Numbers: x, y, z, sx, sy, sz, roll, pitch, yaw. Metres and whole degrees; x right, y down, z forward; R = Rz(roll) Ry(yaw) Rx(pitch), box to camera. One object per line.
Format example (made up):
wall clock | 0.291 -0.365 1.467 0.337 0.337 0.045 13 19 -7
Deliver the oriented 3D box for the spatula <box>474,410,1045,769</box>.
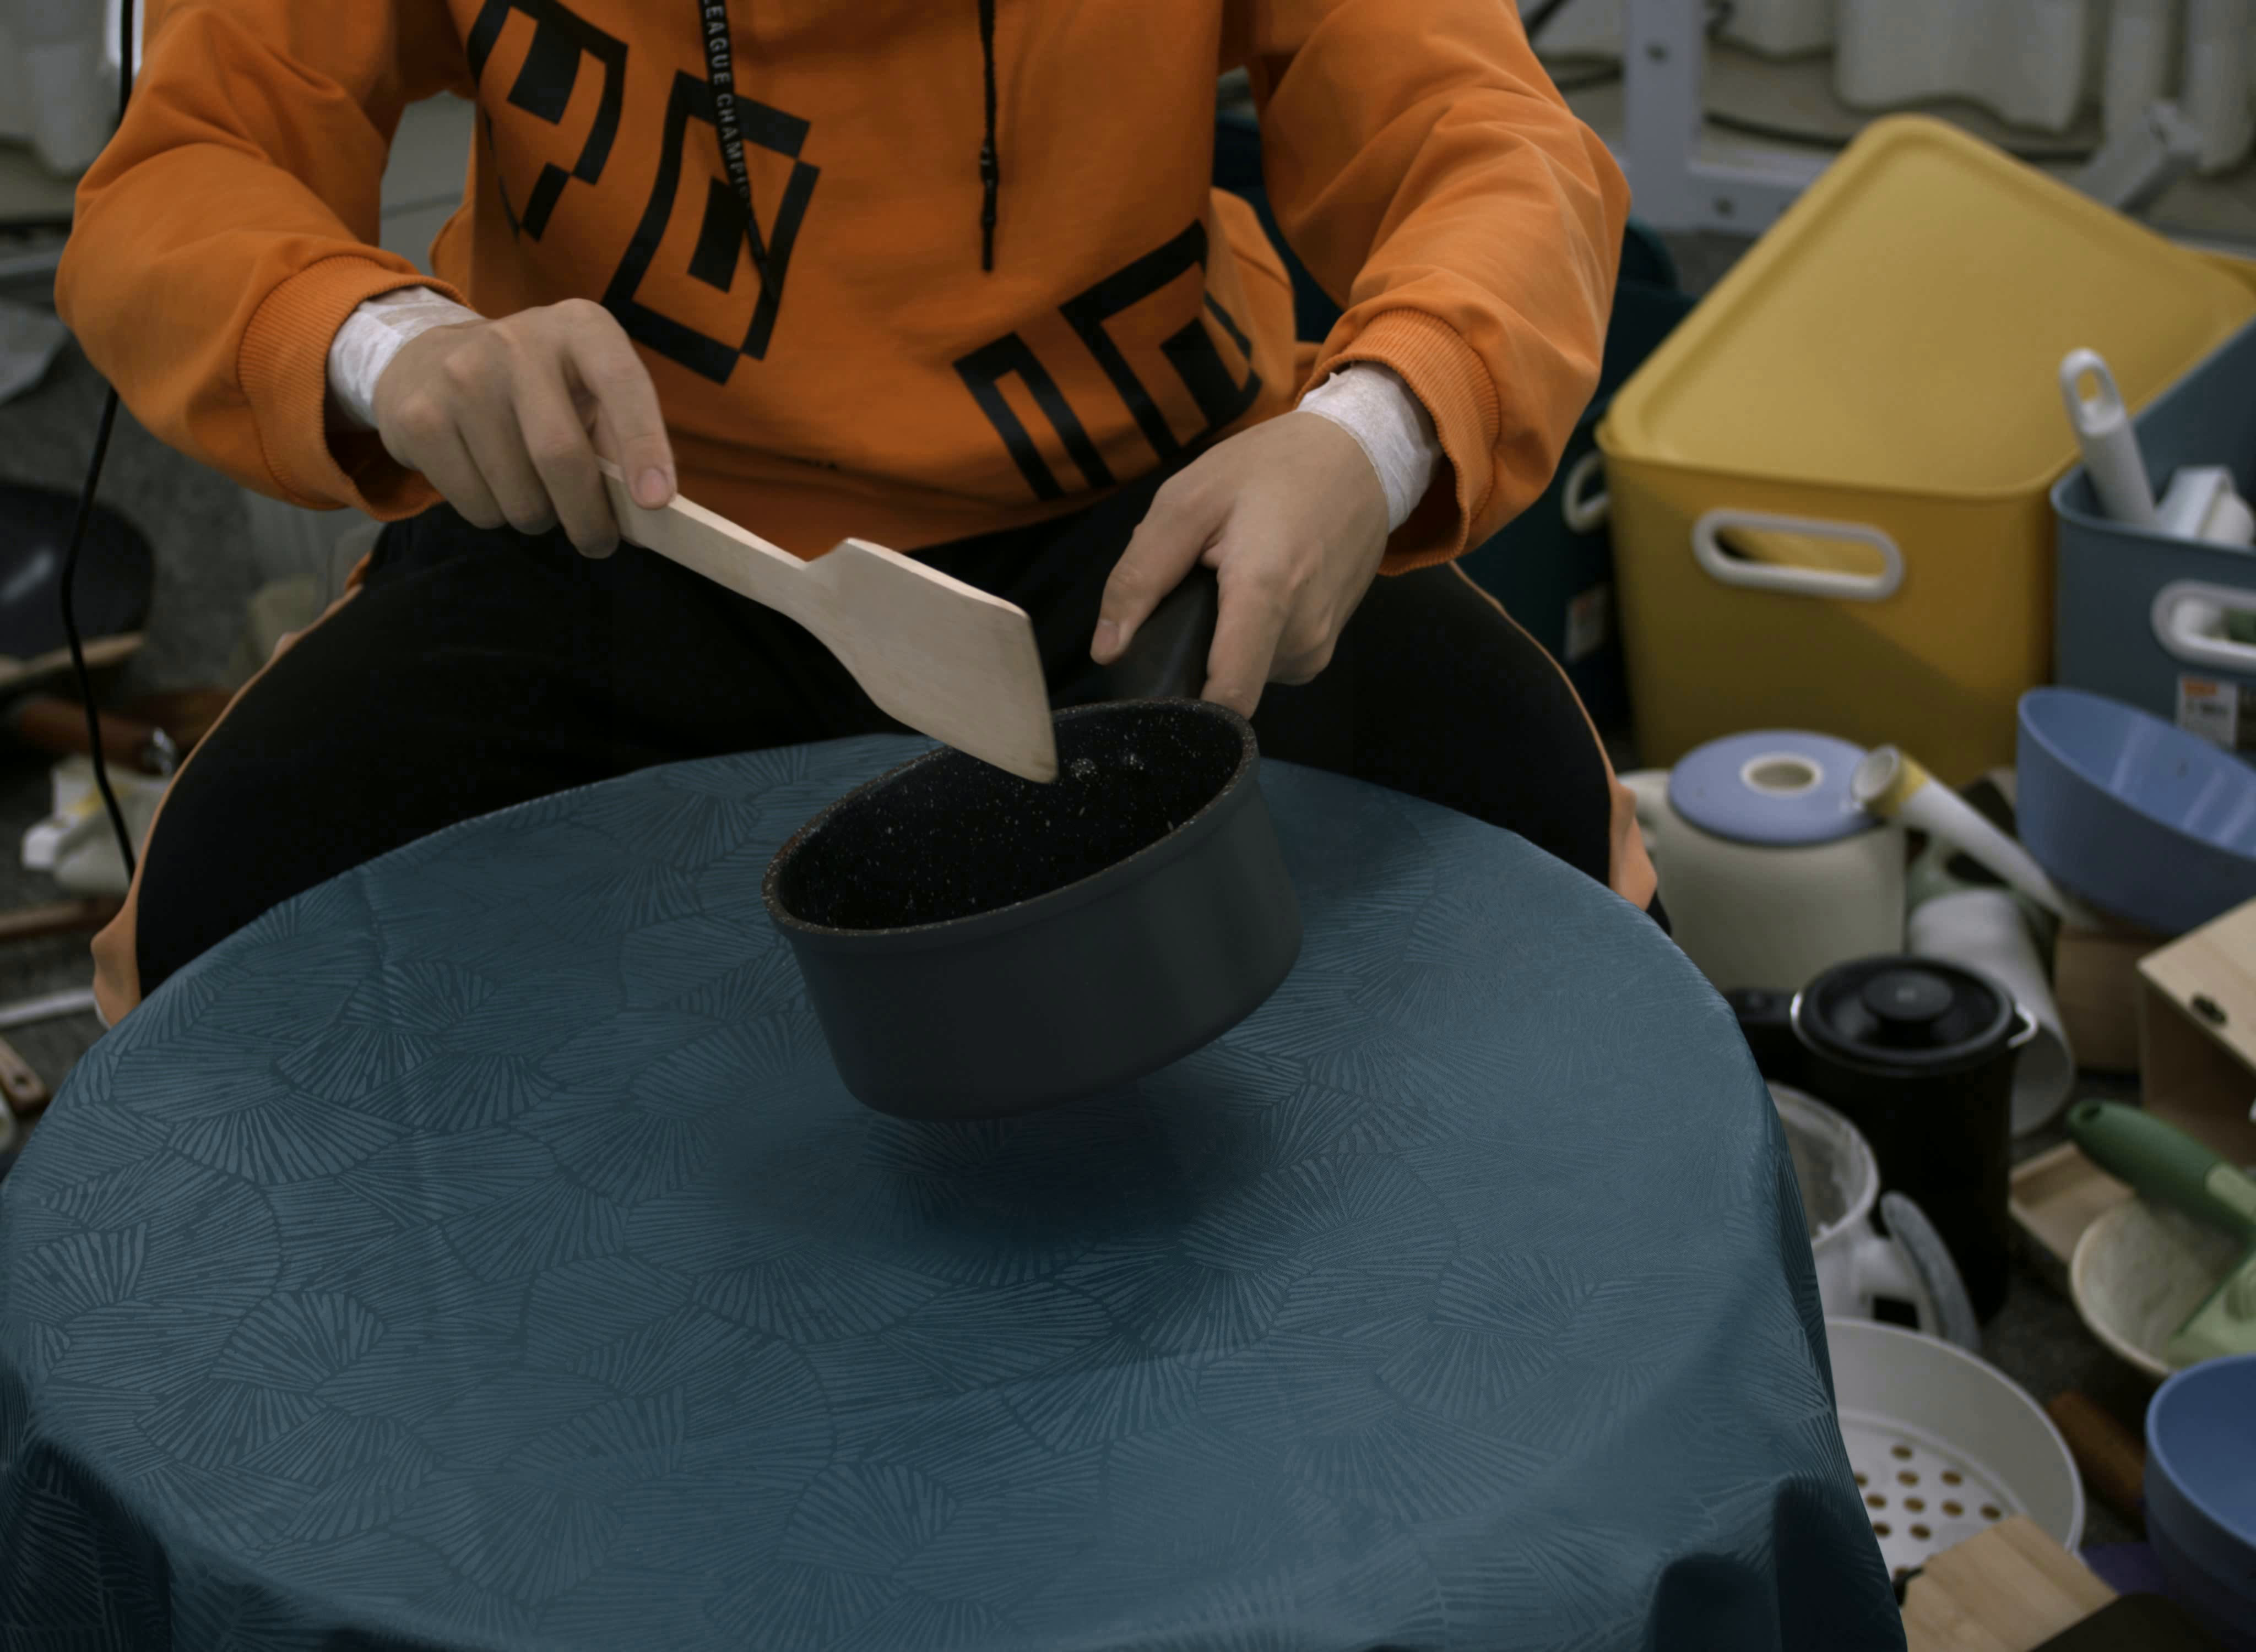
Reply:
spatula | -0.133 -0.092 1.908 0.011 0.071 0.293 -36 41 -28

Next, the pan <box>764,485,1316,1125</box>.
pan | 0.000 -0.010 1.922 0.170 0.086 0.334 -7 24 27
